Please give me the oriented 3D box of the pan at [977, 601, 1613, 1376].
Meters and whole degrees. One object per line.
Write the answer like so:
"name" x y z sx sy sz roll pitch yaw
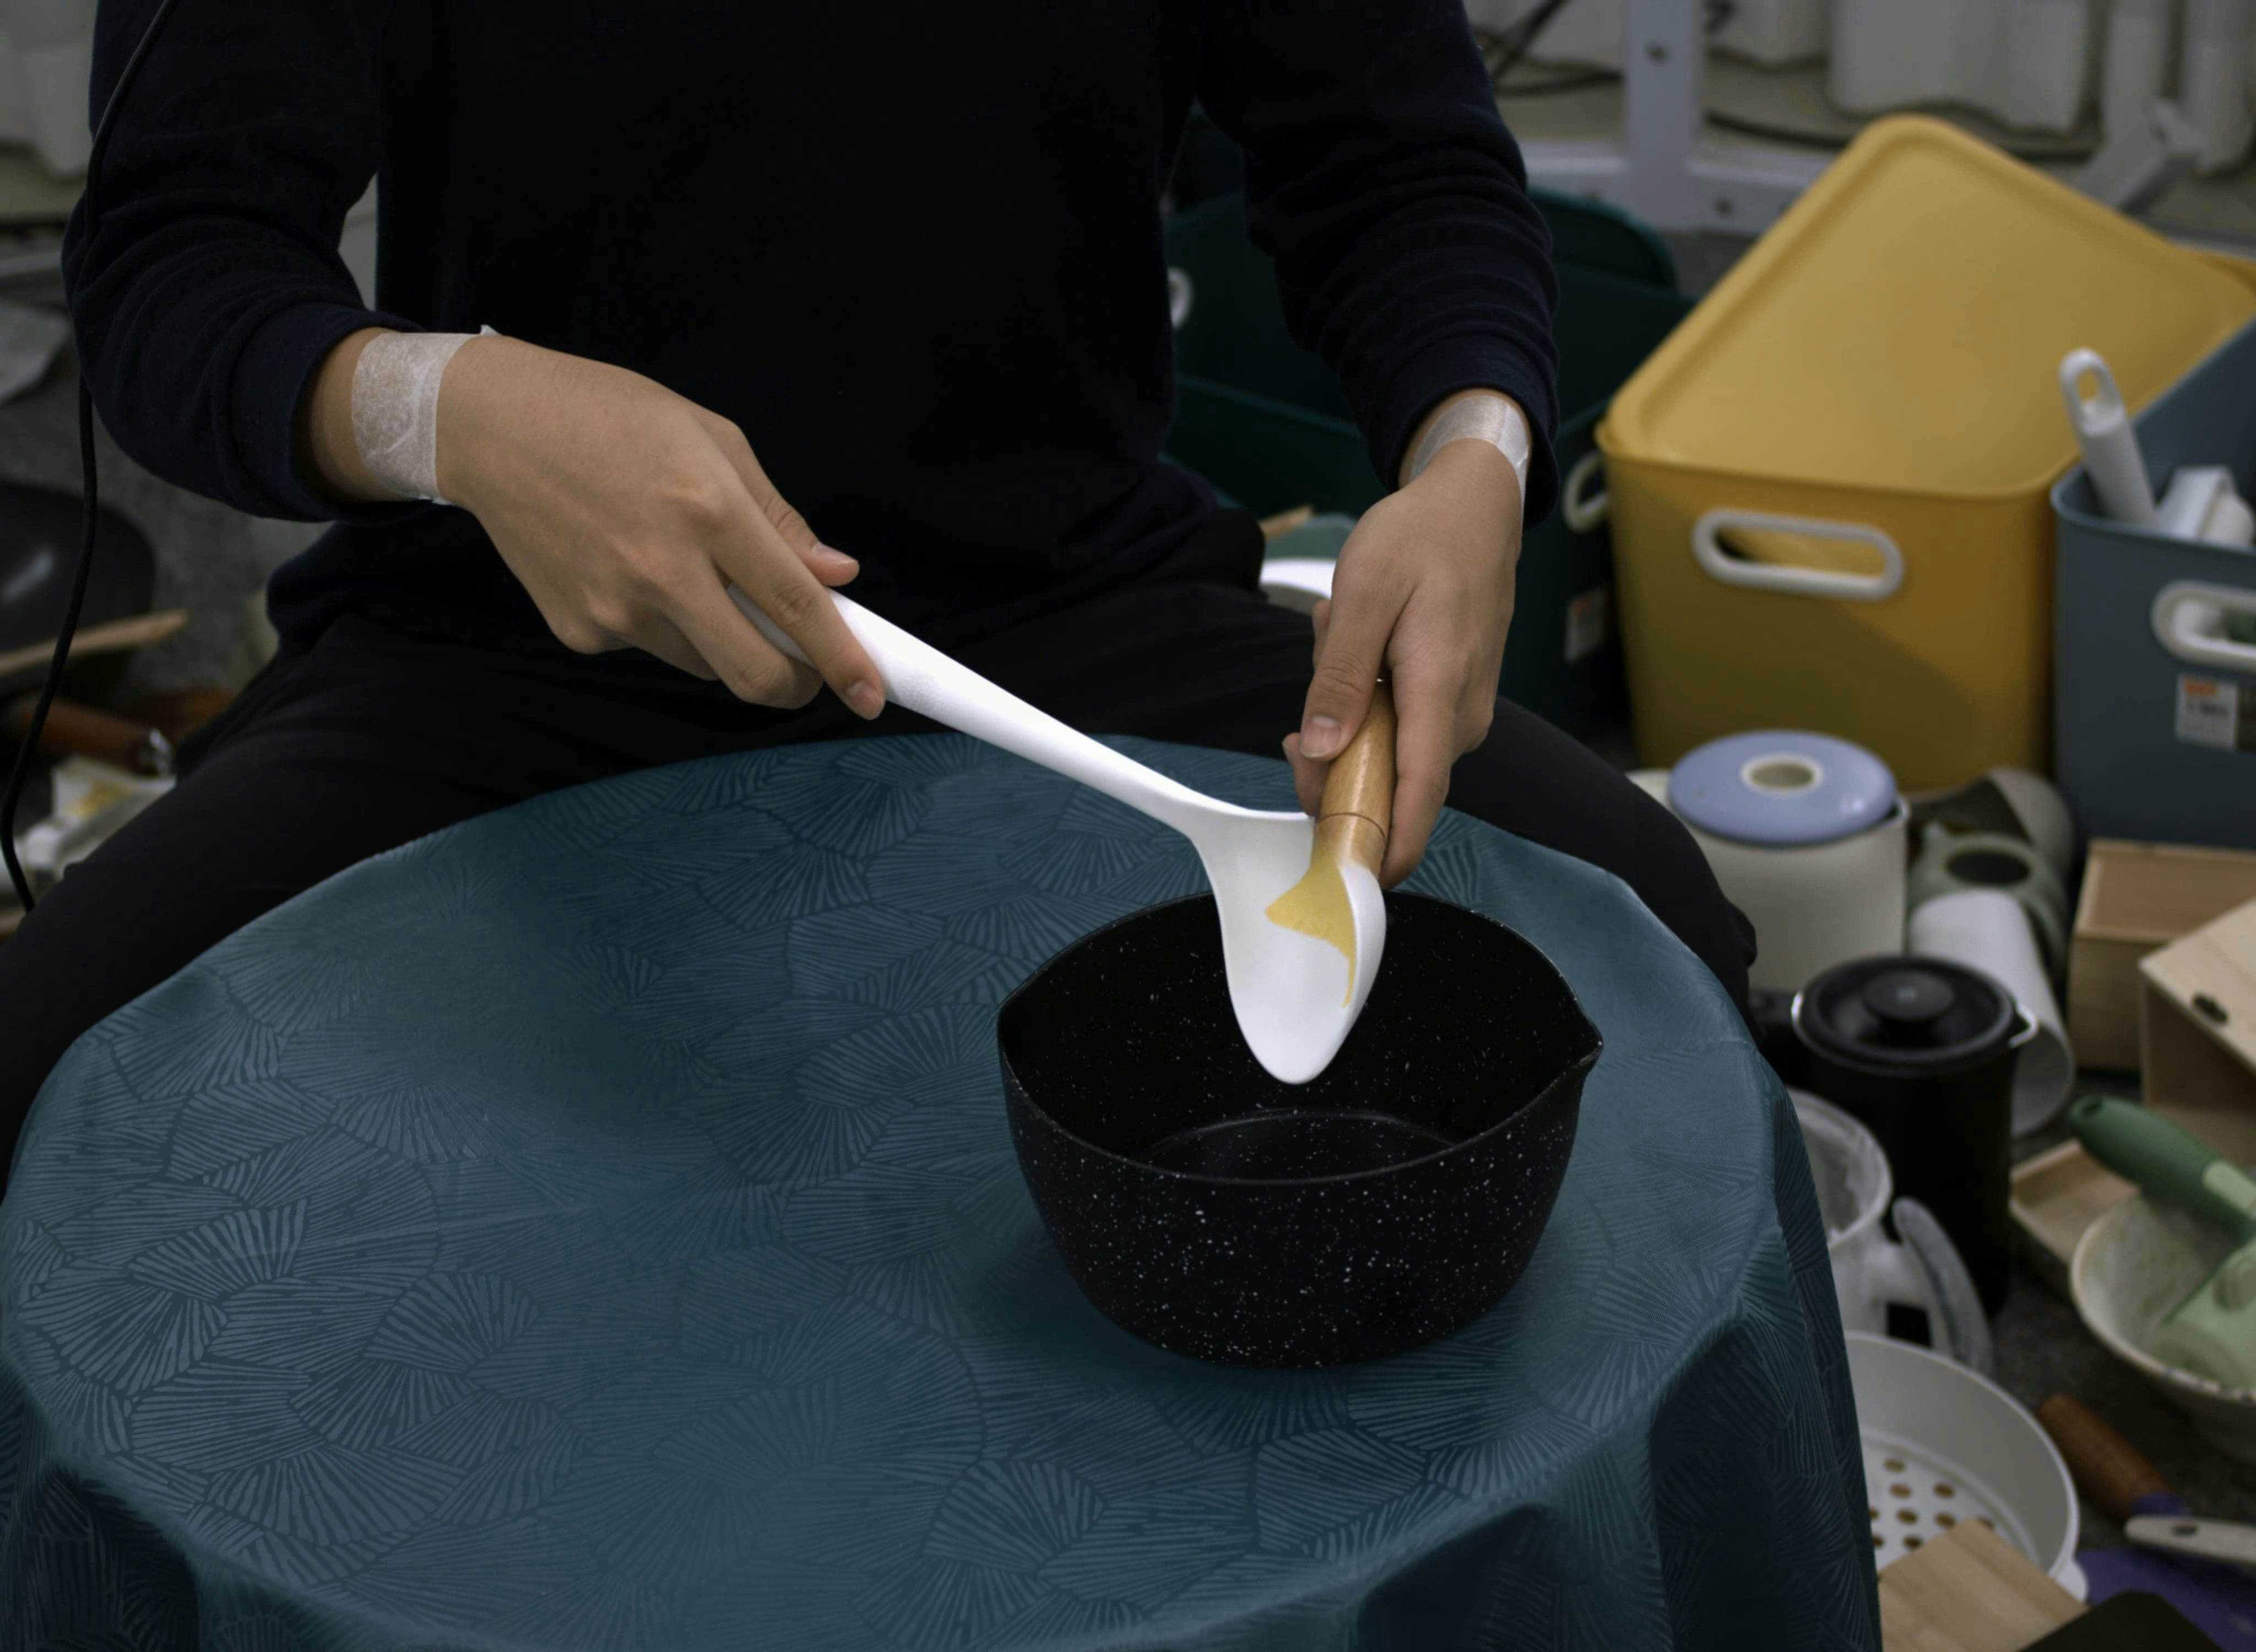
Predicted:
"pan" 0.065 0.050 1.872 0.206 0.107 0.349 1 30 9

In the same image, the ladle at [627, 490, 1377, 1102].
"ladle" -0.044 -0.015 1.806 0.292 0.088 0.071 30 48 12
